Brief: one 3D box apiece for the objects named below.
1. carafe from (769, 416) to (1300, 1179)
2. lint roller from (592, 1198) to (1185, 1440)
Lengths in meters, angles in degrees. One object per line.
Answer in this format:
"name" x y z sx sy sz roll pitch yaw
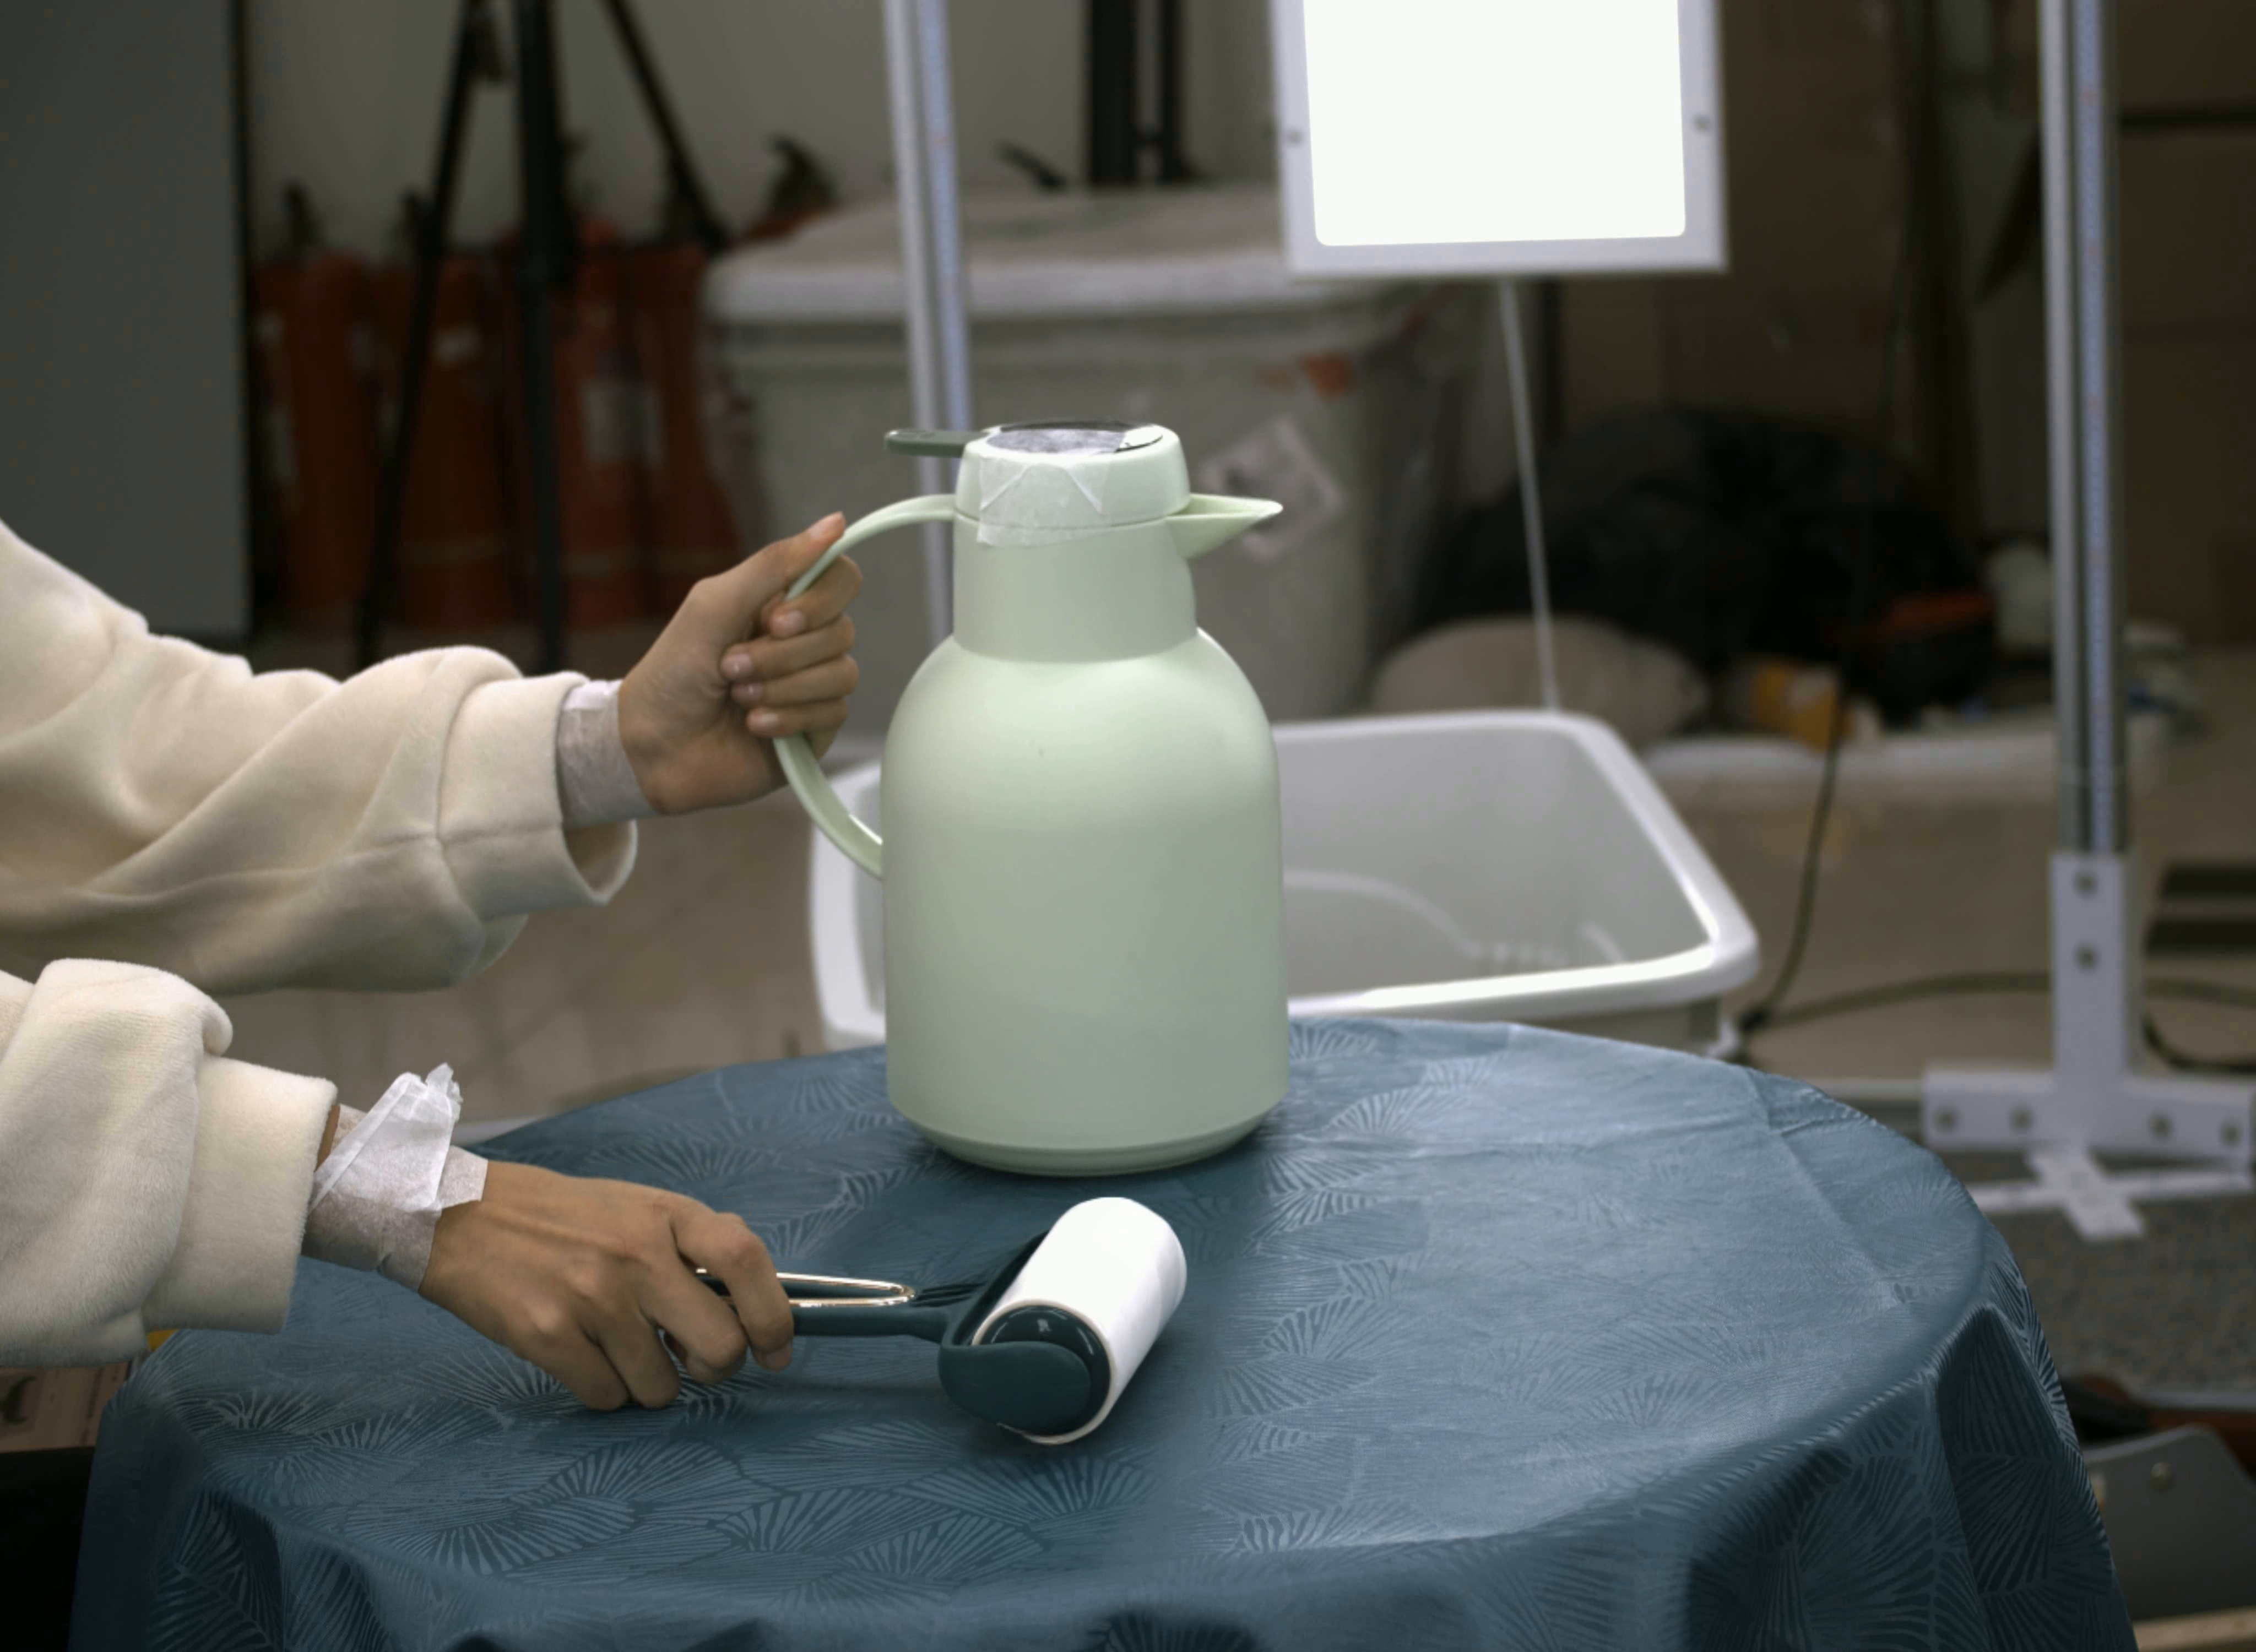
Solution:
"carafe" -0.030 -0.014 1.944 0.188 0.258 0.142 -2 17 14
"lint roller" -0.079 0.141 1.717 0.181 0.048 0.132 9 16 13
